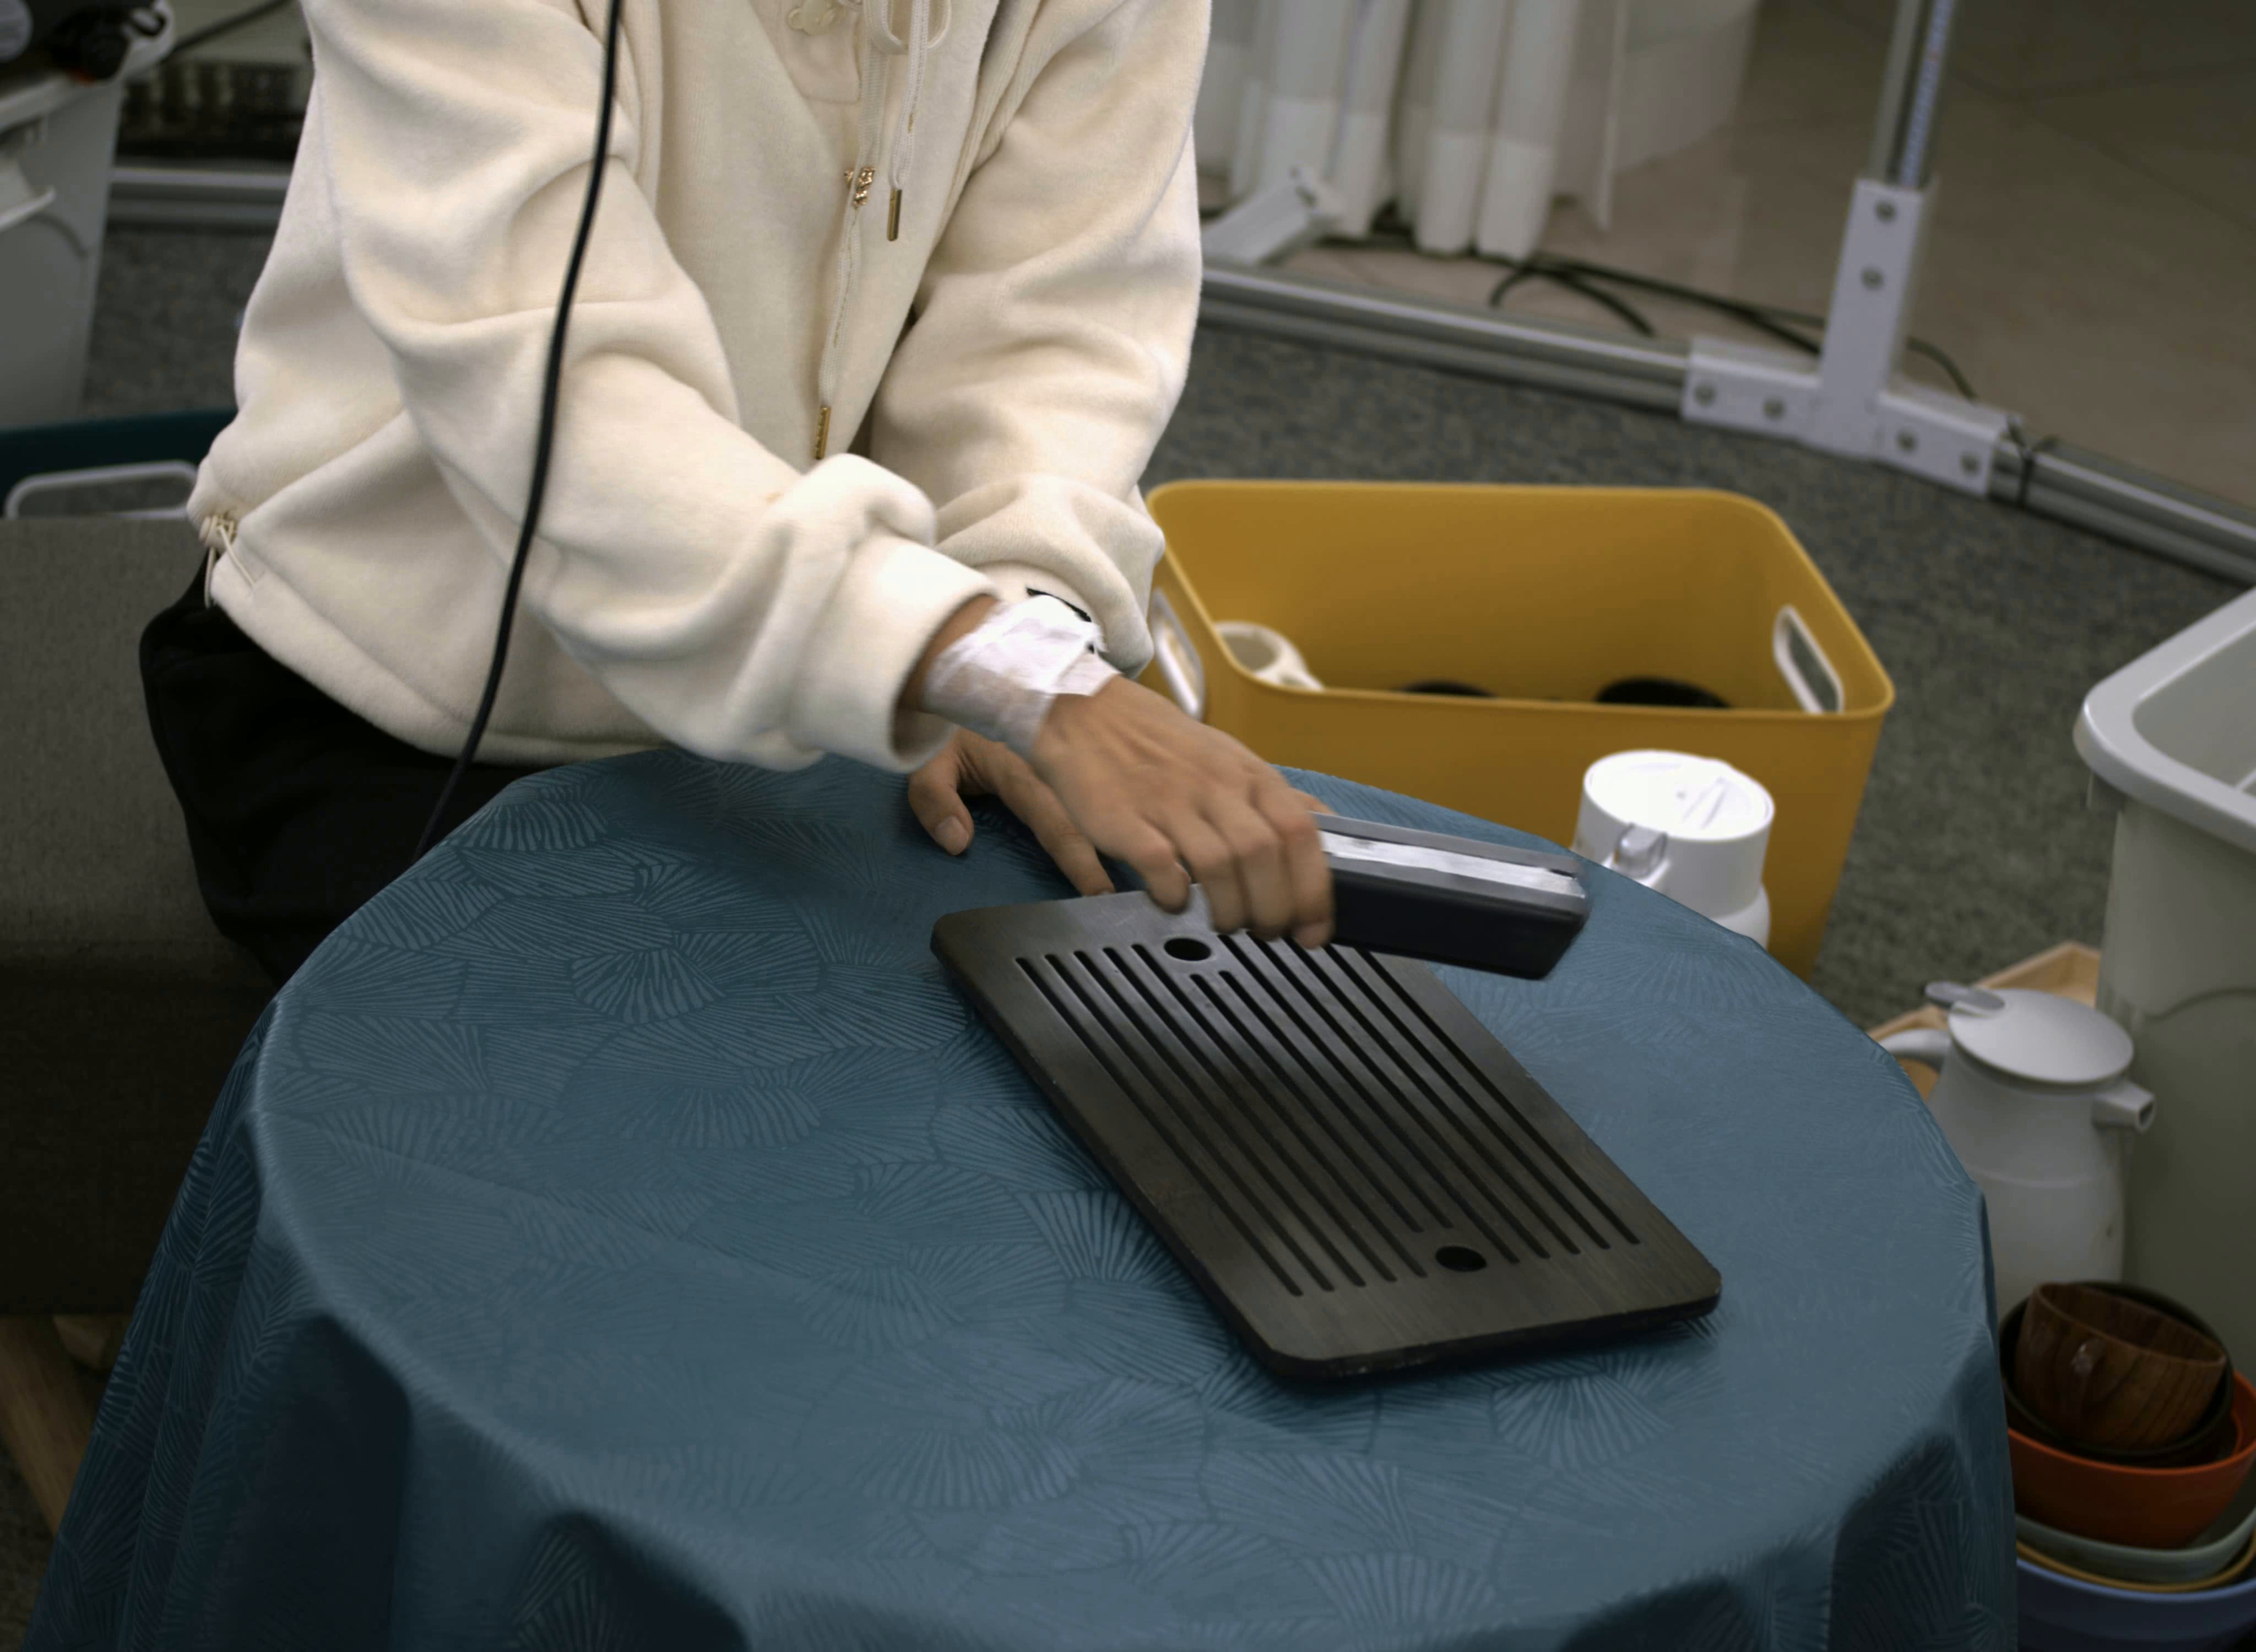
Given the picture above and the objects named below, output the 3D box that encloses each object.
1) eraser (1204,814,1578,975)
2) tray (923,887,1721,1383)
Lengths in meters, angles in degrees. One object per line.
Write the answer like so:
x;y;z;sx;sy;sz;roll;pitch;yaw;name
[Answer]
0.093;0.023;1.872;0.126;0.030;0.053;9;22;18;eraser
0.060;0.101;1.839;0.169;0.018;0.309;-7;30;-24;tray
